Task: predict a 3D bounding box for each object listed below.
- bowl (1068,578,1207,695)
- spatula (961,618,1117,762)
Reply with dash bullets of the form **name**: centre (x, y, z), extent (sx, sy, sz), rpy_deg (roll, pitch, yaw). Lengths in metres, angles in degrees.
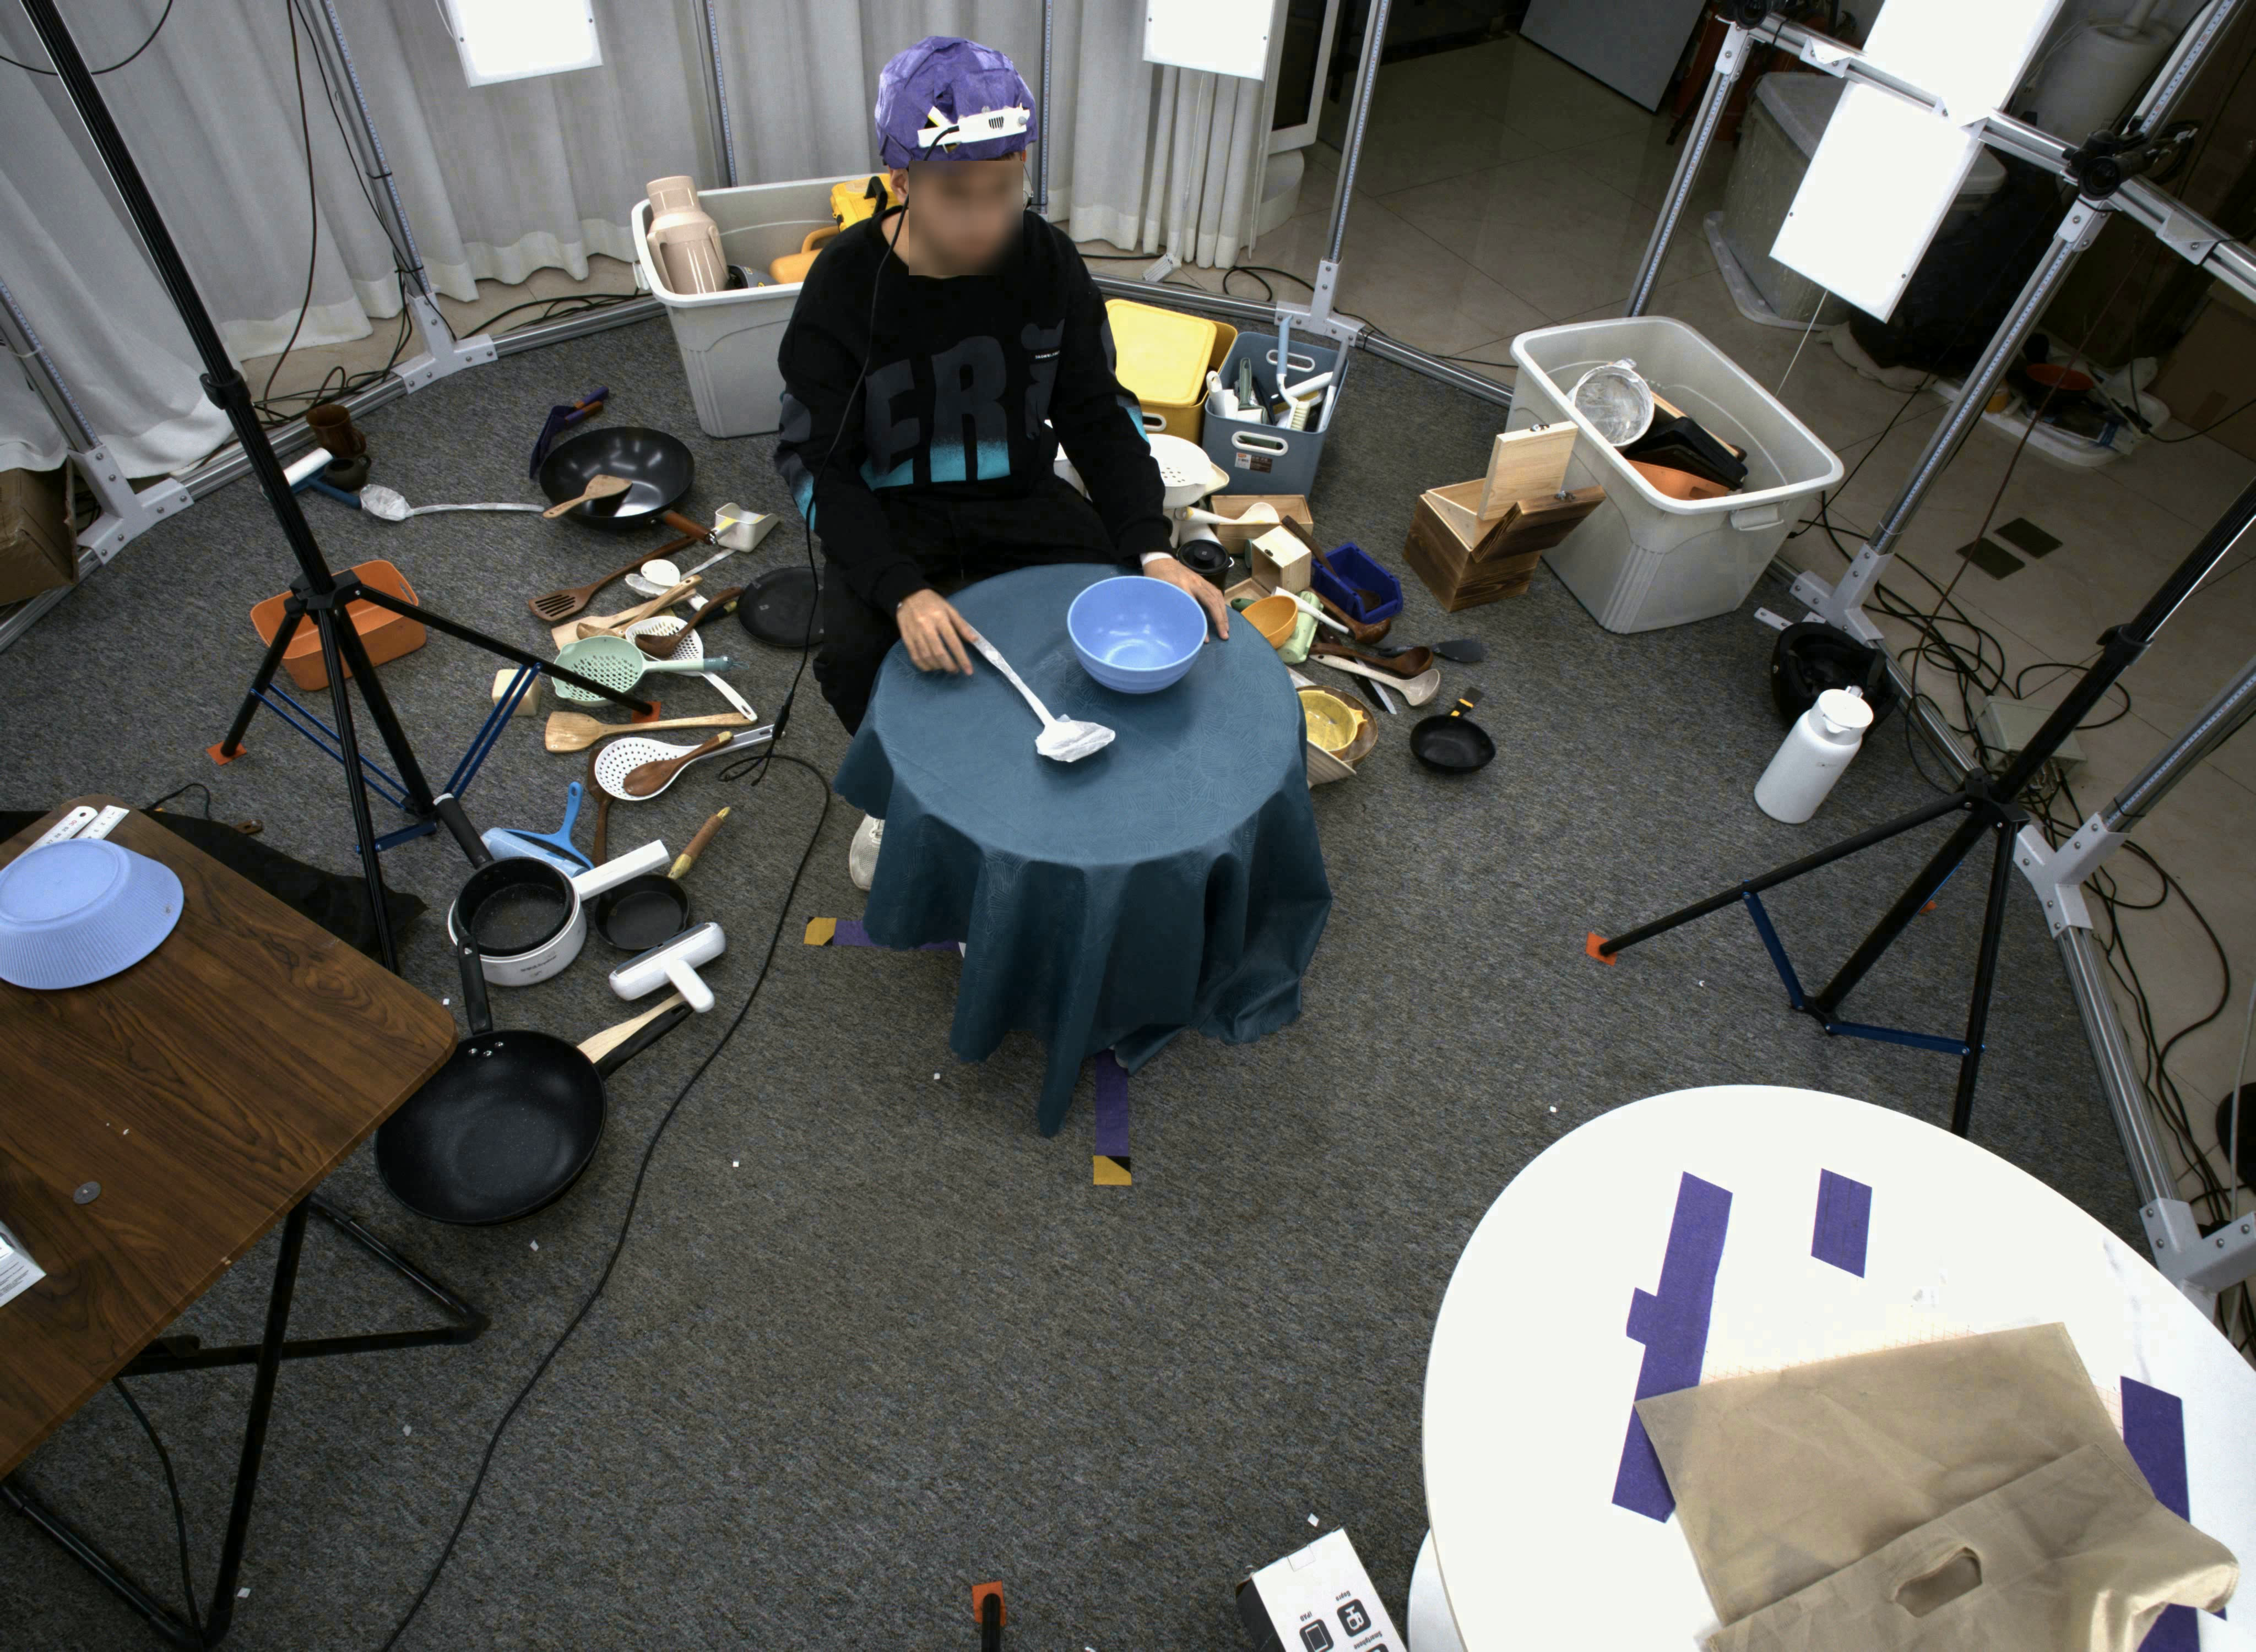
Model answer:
- **bowl**: centre (0.011, -0.257, 1.848), extent (0.196, 0.093, 0.201), rpy_deg (2, 50, -3)
- **spatula**: centre (-0.149, -0.204, 1.828), extent (0.099, 0.043, 0.372), rpy_deg (-27, 56, -22)
